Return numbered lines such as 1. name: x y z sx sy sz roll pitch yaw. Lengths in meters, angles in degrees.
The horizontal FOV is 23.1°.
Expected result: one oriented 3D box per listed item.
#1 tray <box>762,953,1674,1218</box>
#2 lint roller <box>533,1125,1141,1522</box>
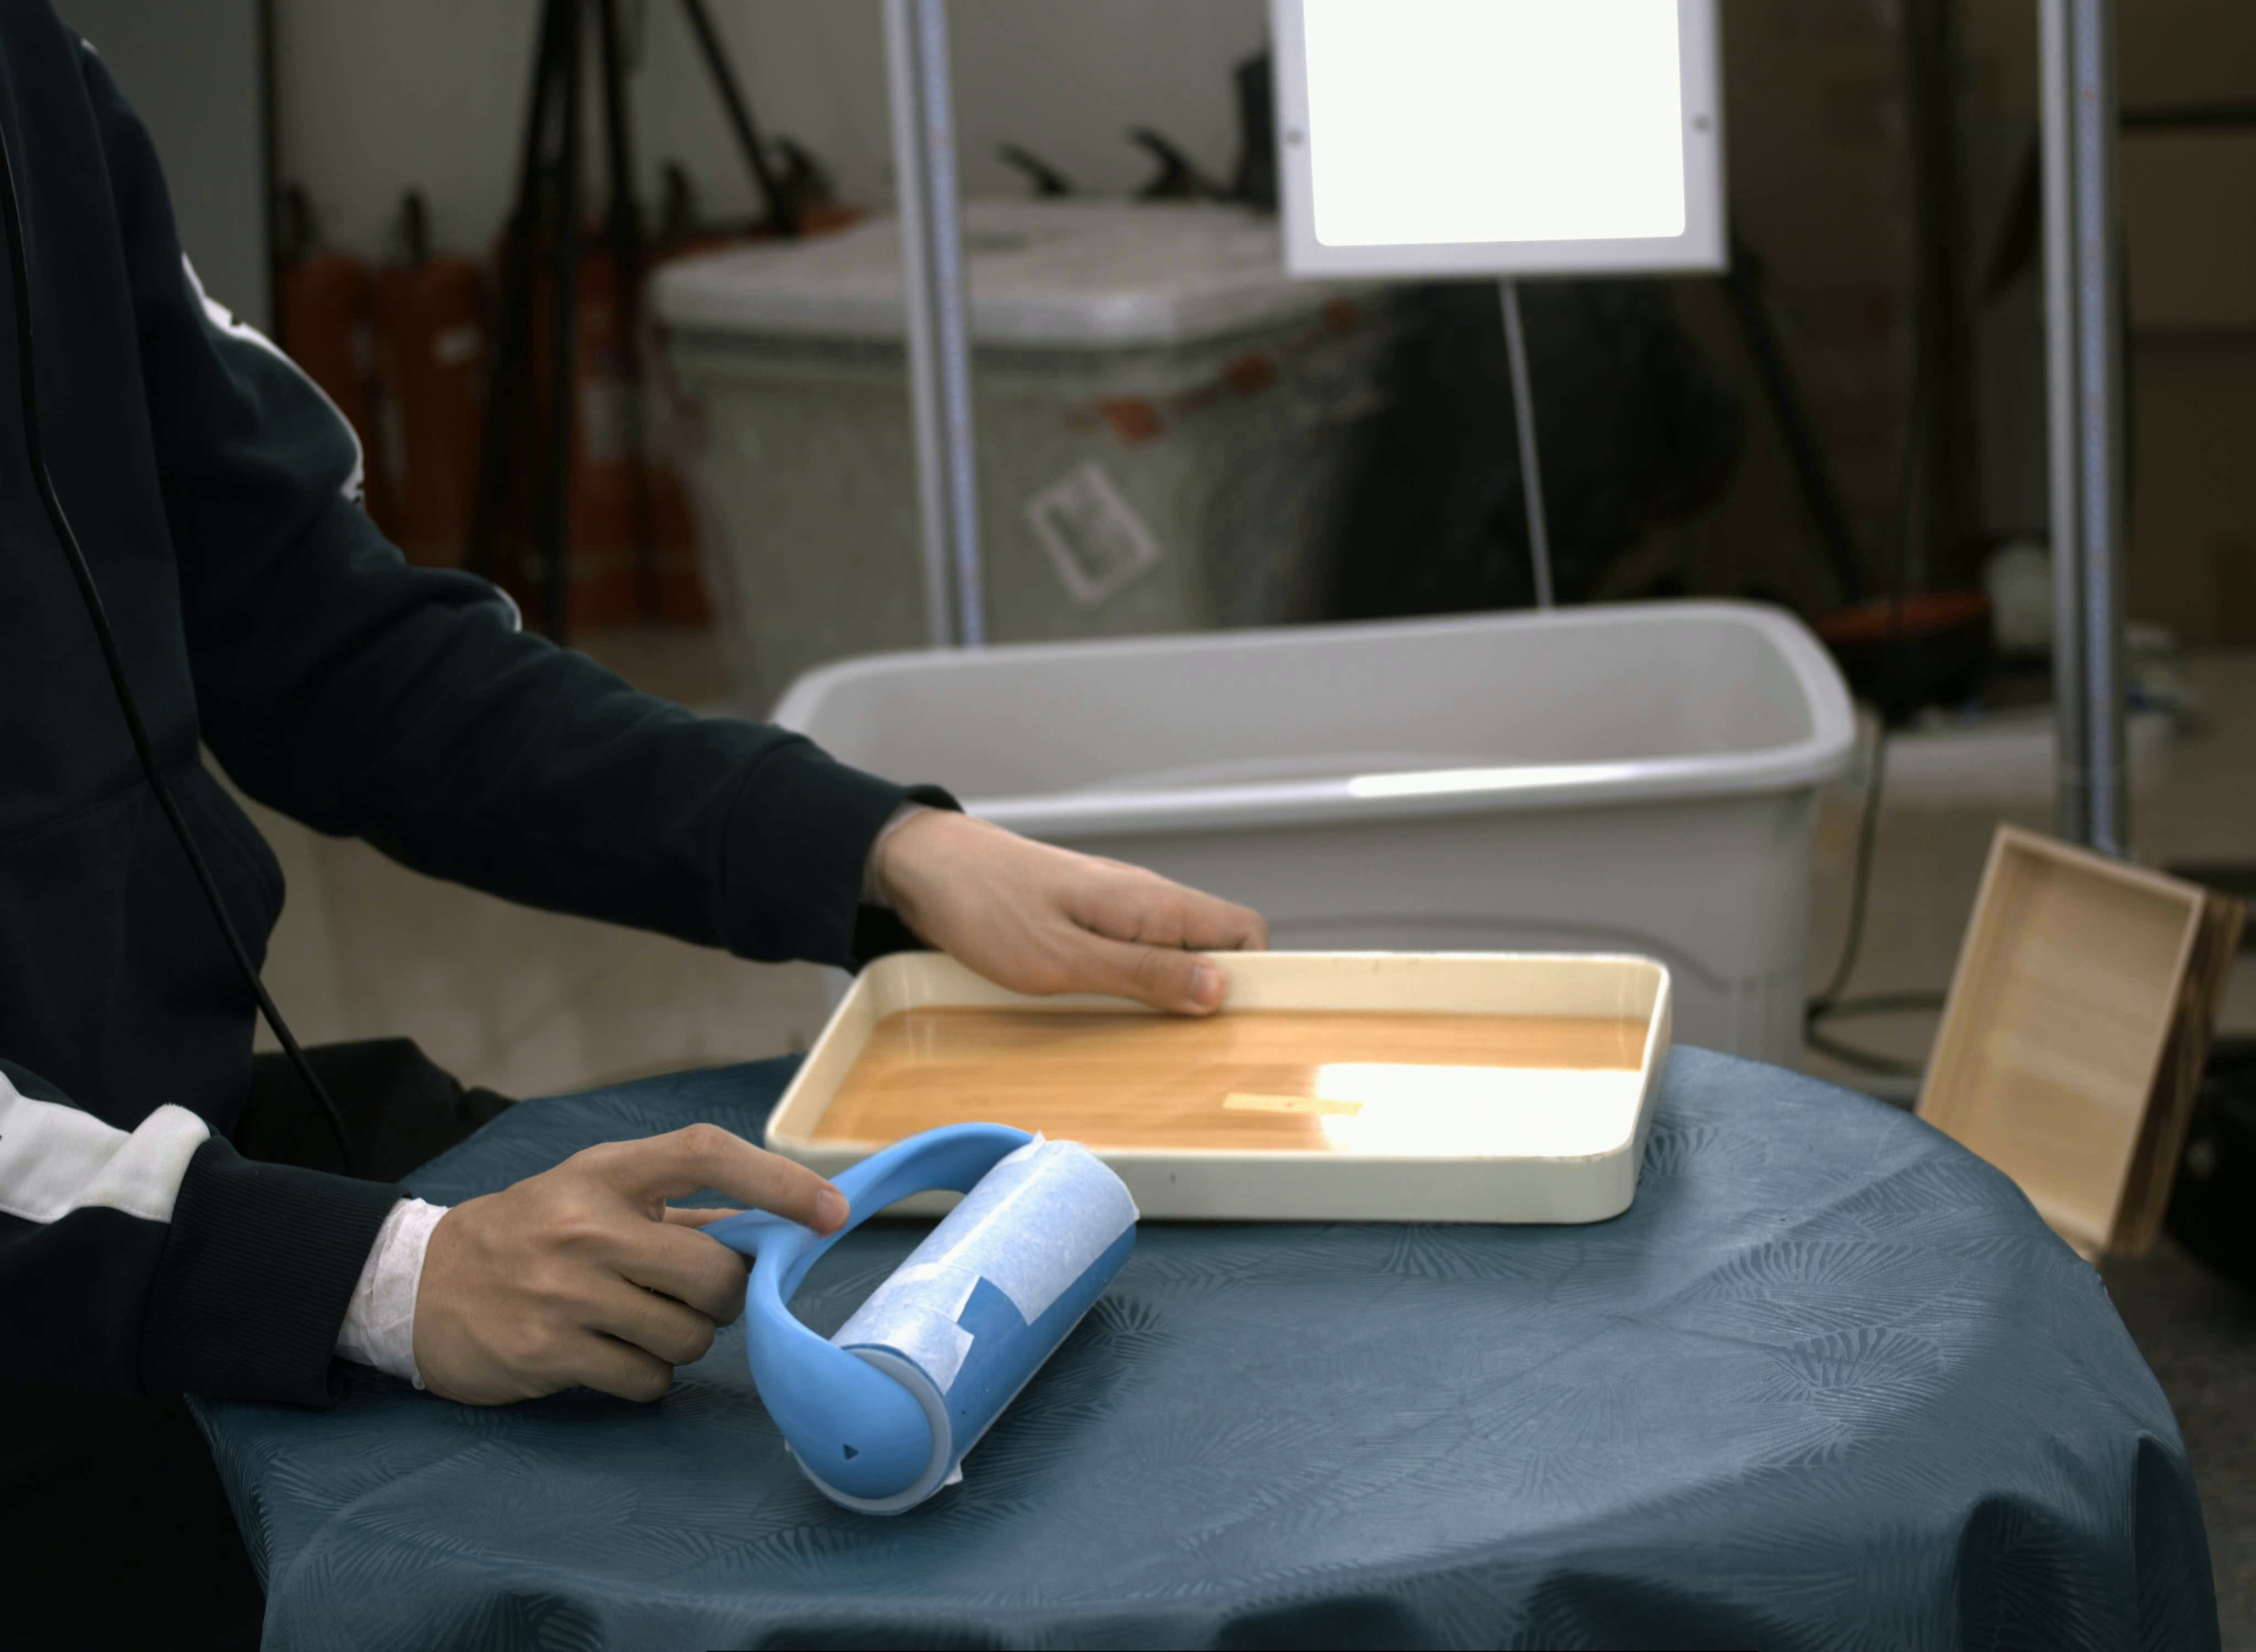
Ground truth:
1. tray: 0.036 0.089 1.929 0.302 0.027 0.189 1 18 13
2. lint roller: -0.102 0.152 1.711 0.182 0.068 0.226 -1 17 14
